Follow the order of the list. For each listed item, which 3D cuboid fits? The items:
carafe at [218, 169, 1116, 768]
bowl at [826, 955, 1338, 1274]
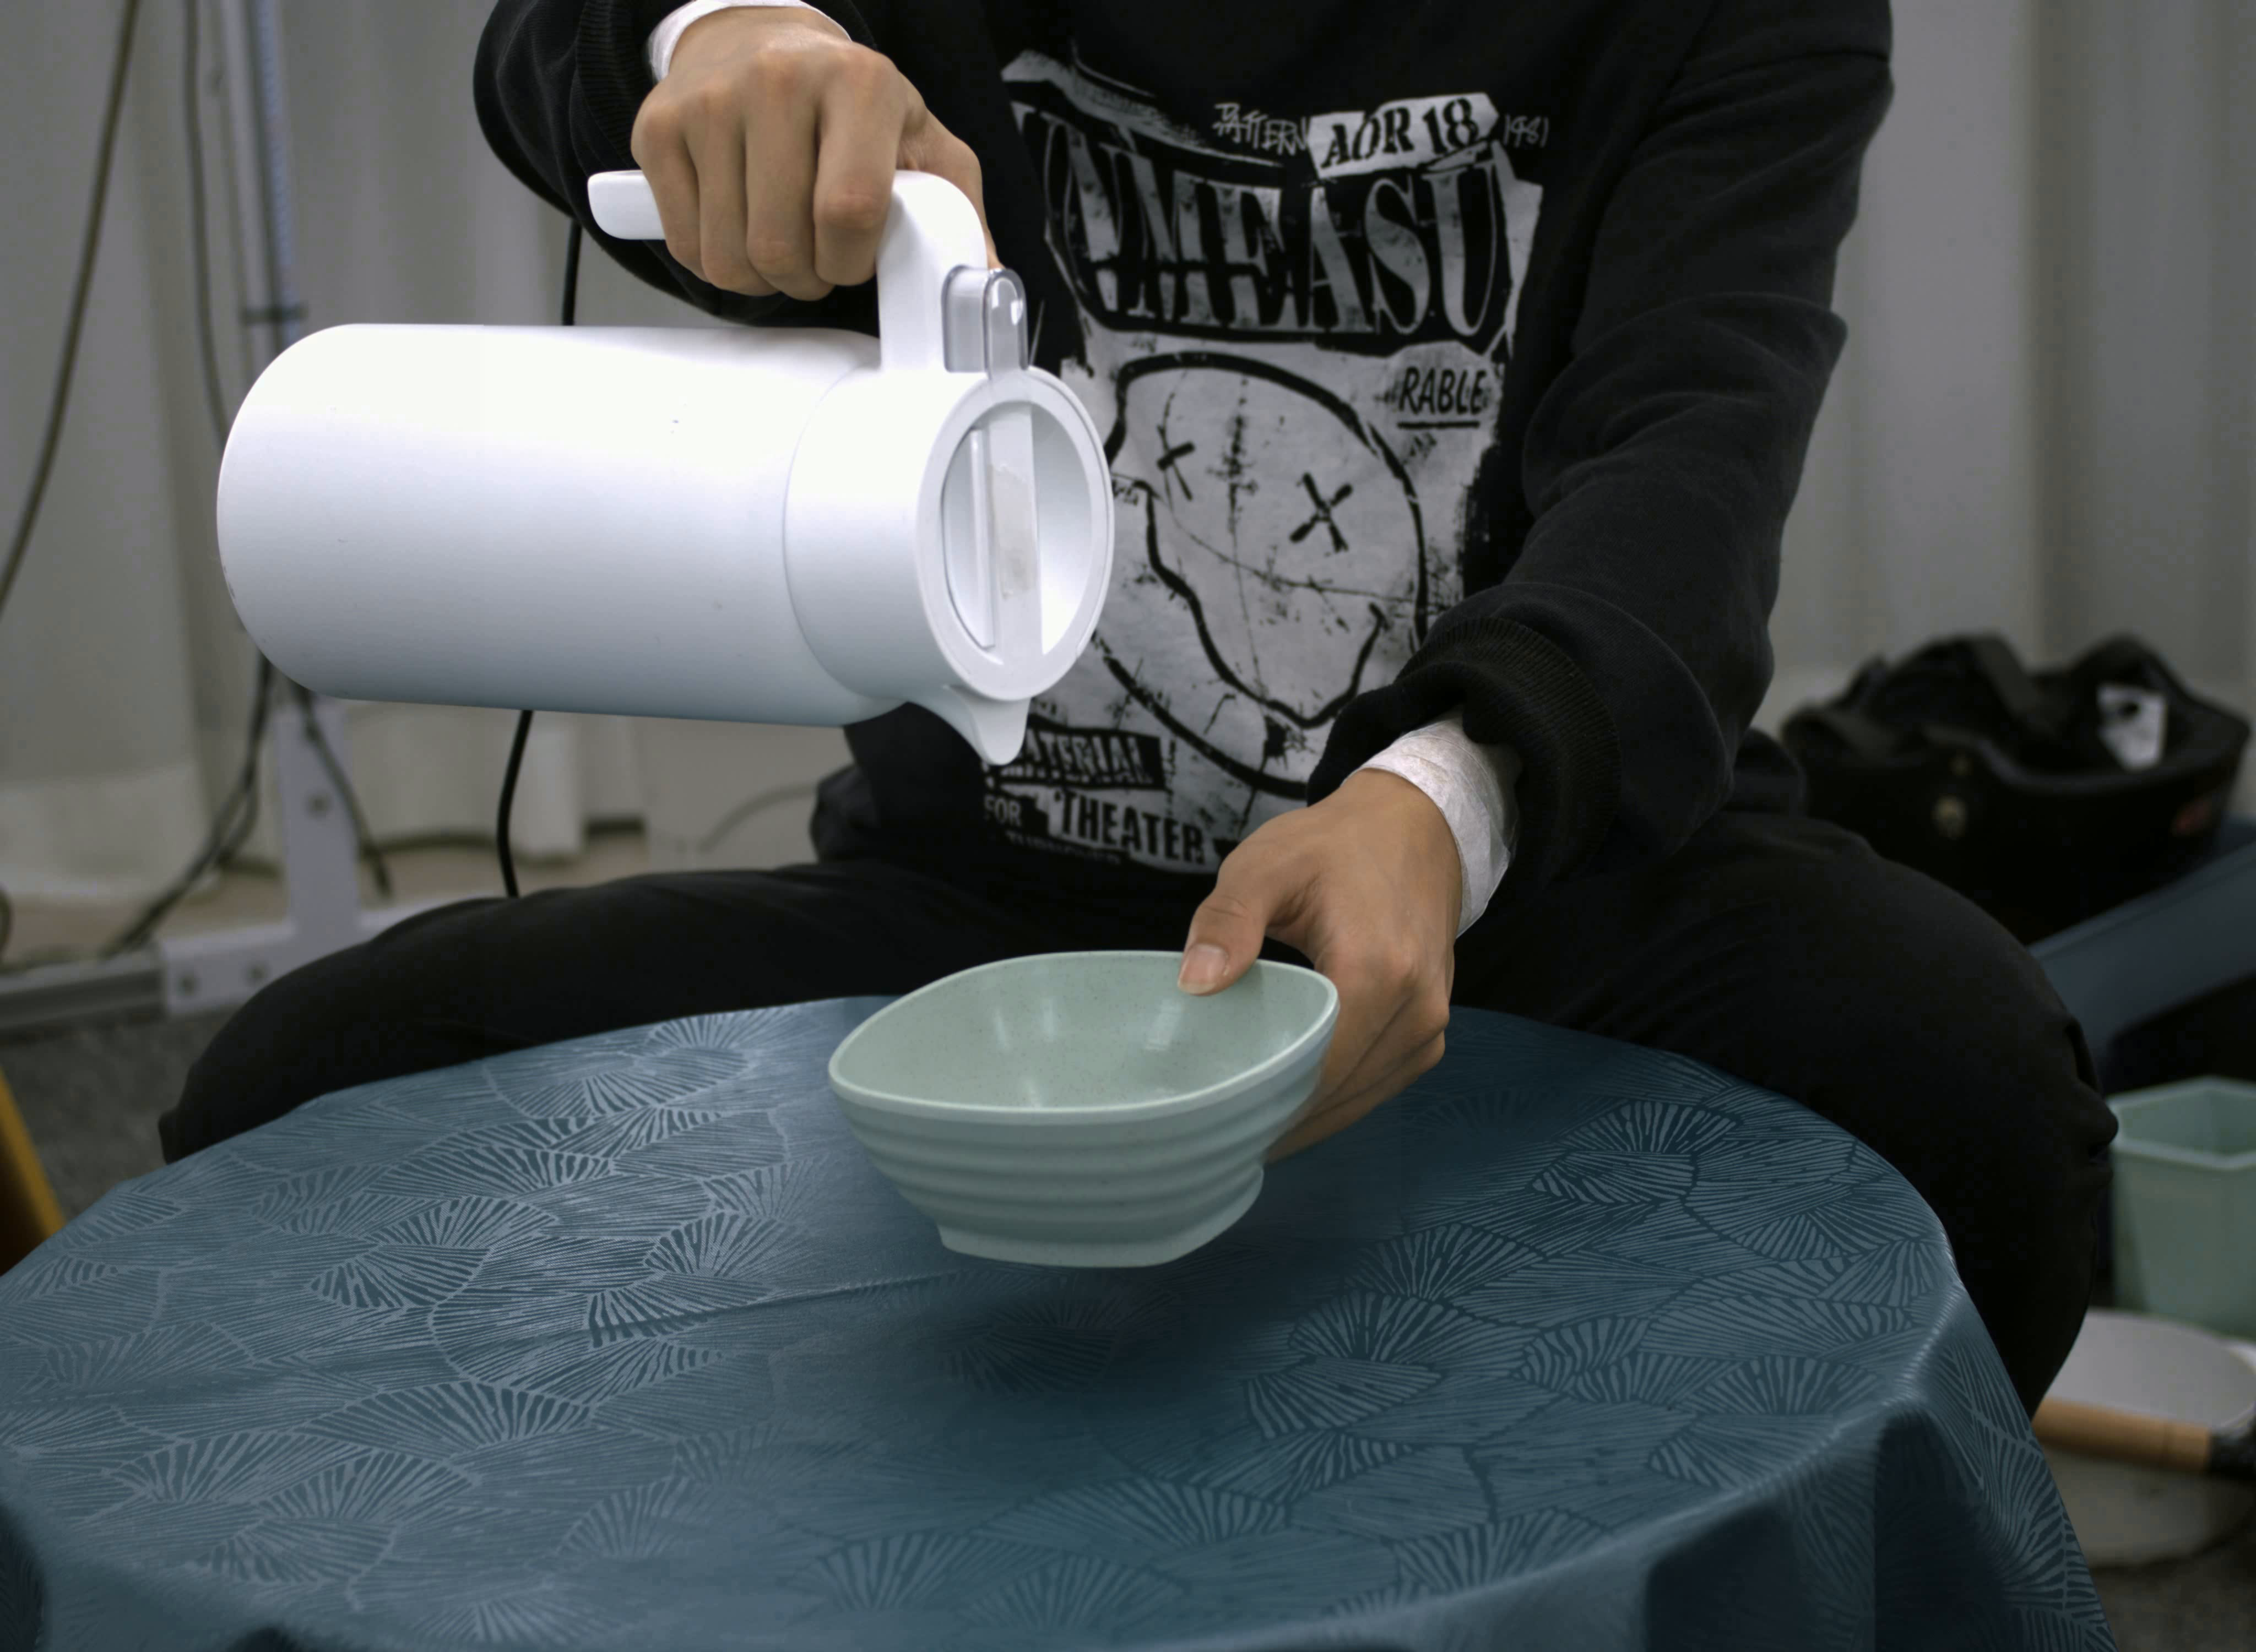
[{"bbox_3d":[-0.141,-0.108,1.636,0.269,0.172,0.123,4,12,36],"label":"carafe"},{"bbox_3d":[-0.011,0.086,1.571,0.151,0.058,0.152,-5,16,1],"label":"bowl"}]
